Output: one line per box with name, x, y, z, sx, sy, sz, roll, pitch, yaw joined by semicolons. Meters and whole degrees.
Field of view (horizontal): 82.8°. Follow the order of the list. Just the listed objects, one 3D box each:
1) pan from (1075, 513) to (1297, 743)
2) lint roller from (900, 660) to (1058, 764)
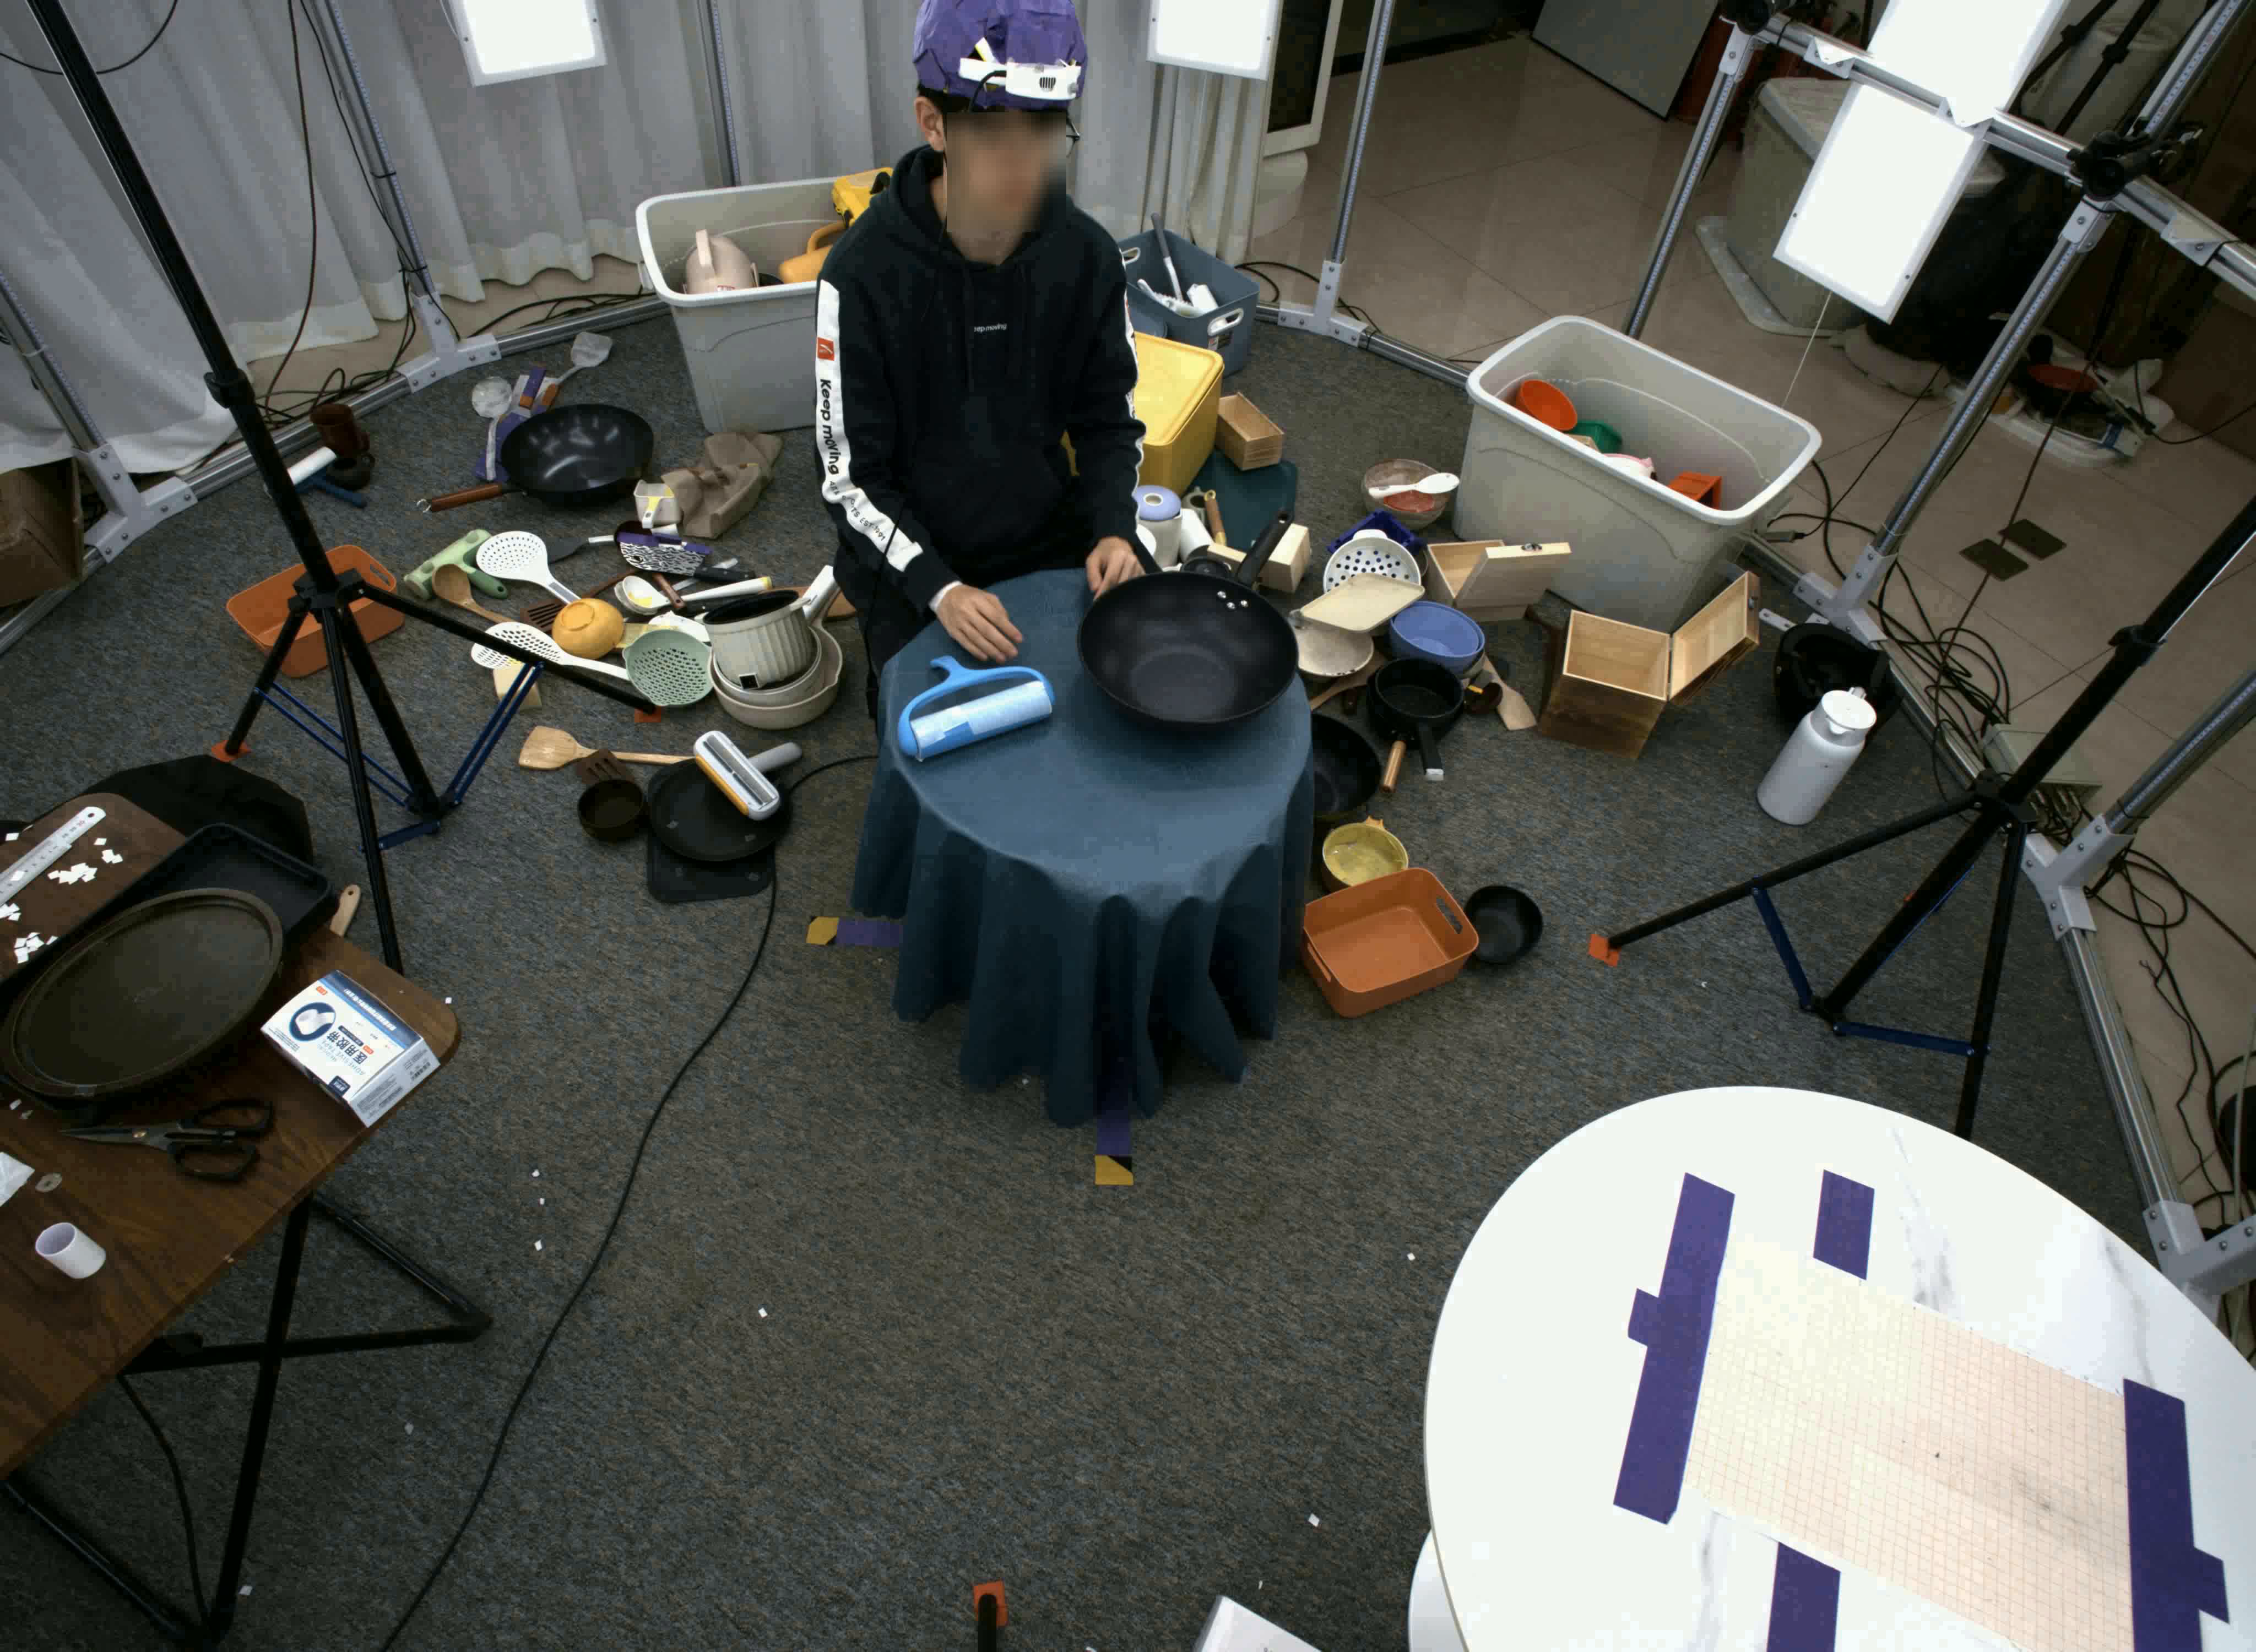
pan;0.120;-0.284;1.854;0.312;0.109;0.484;26;53;15
lint roller;-0.230;-0.184;1.777;0.230;0.066;0.184;-25;56;-20
